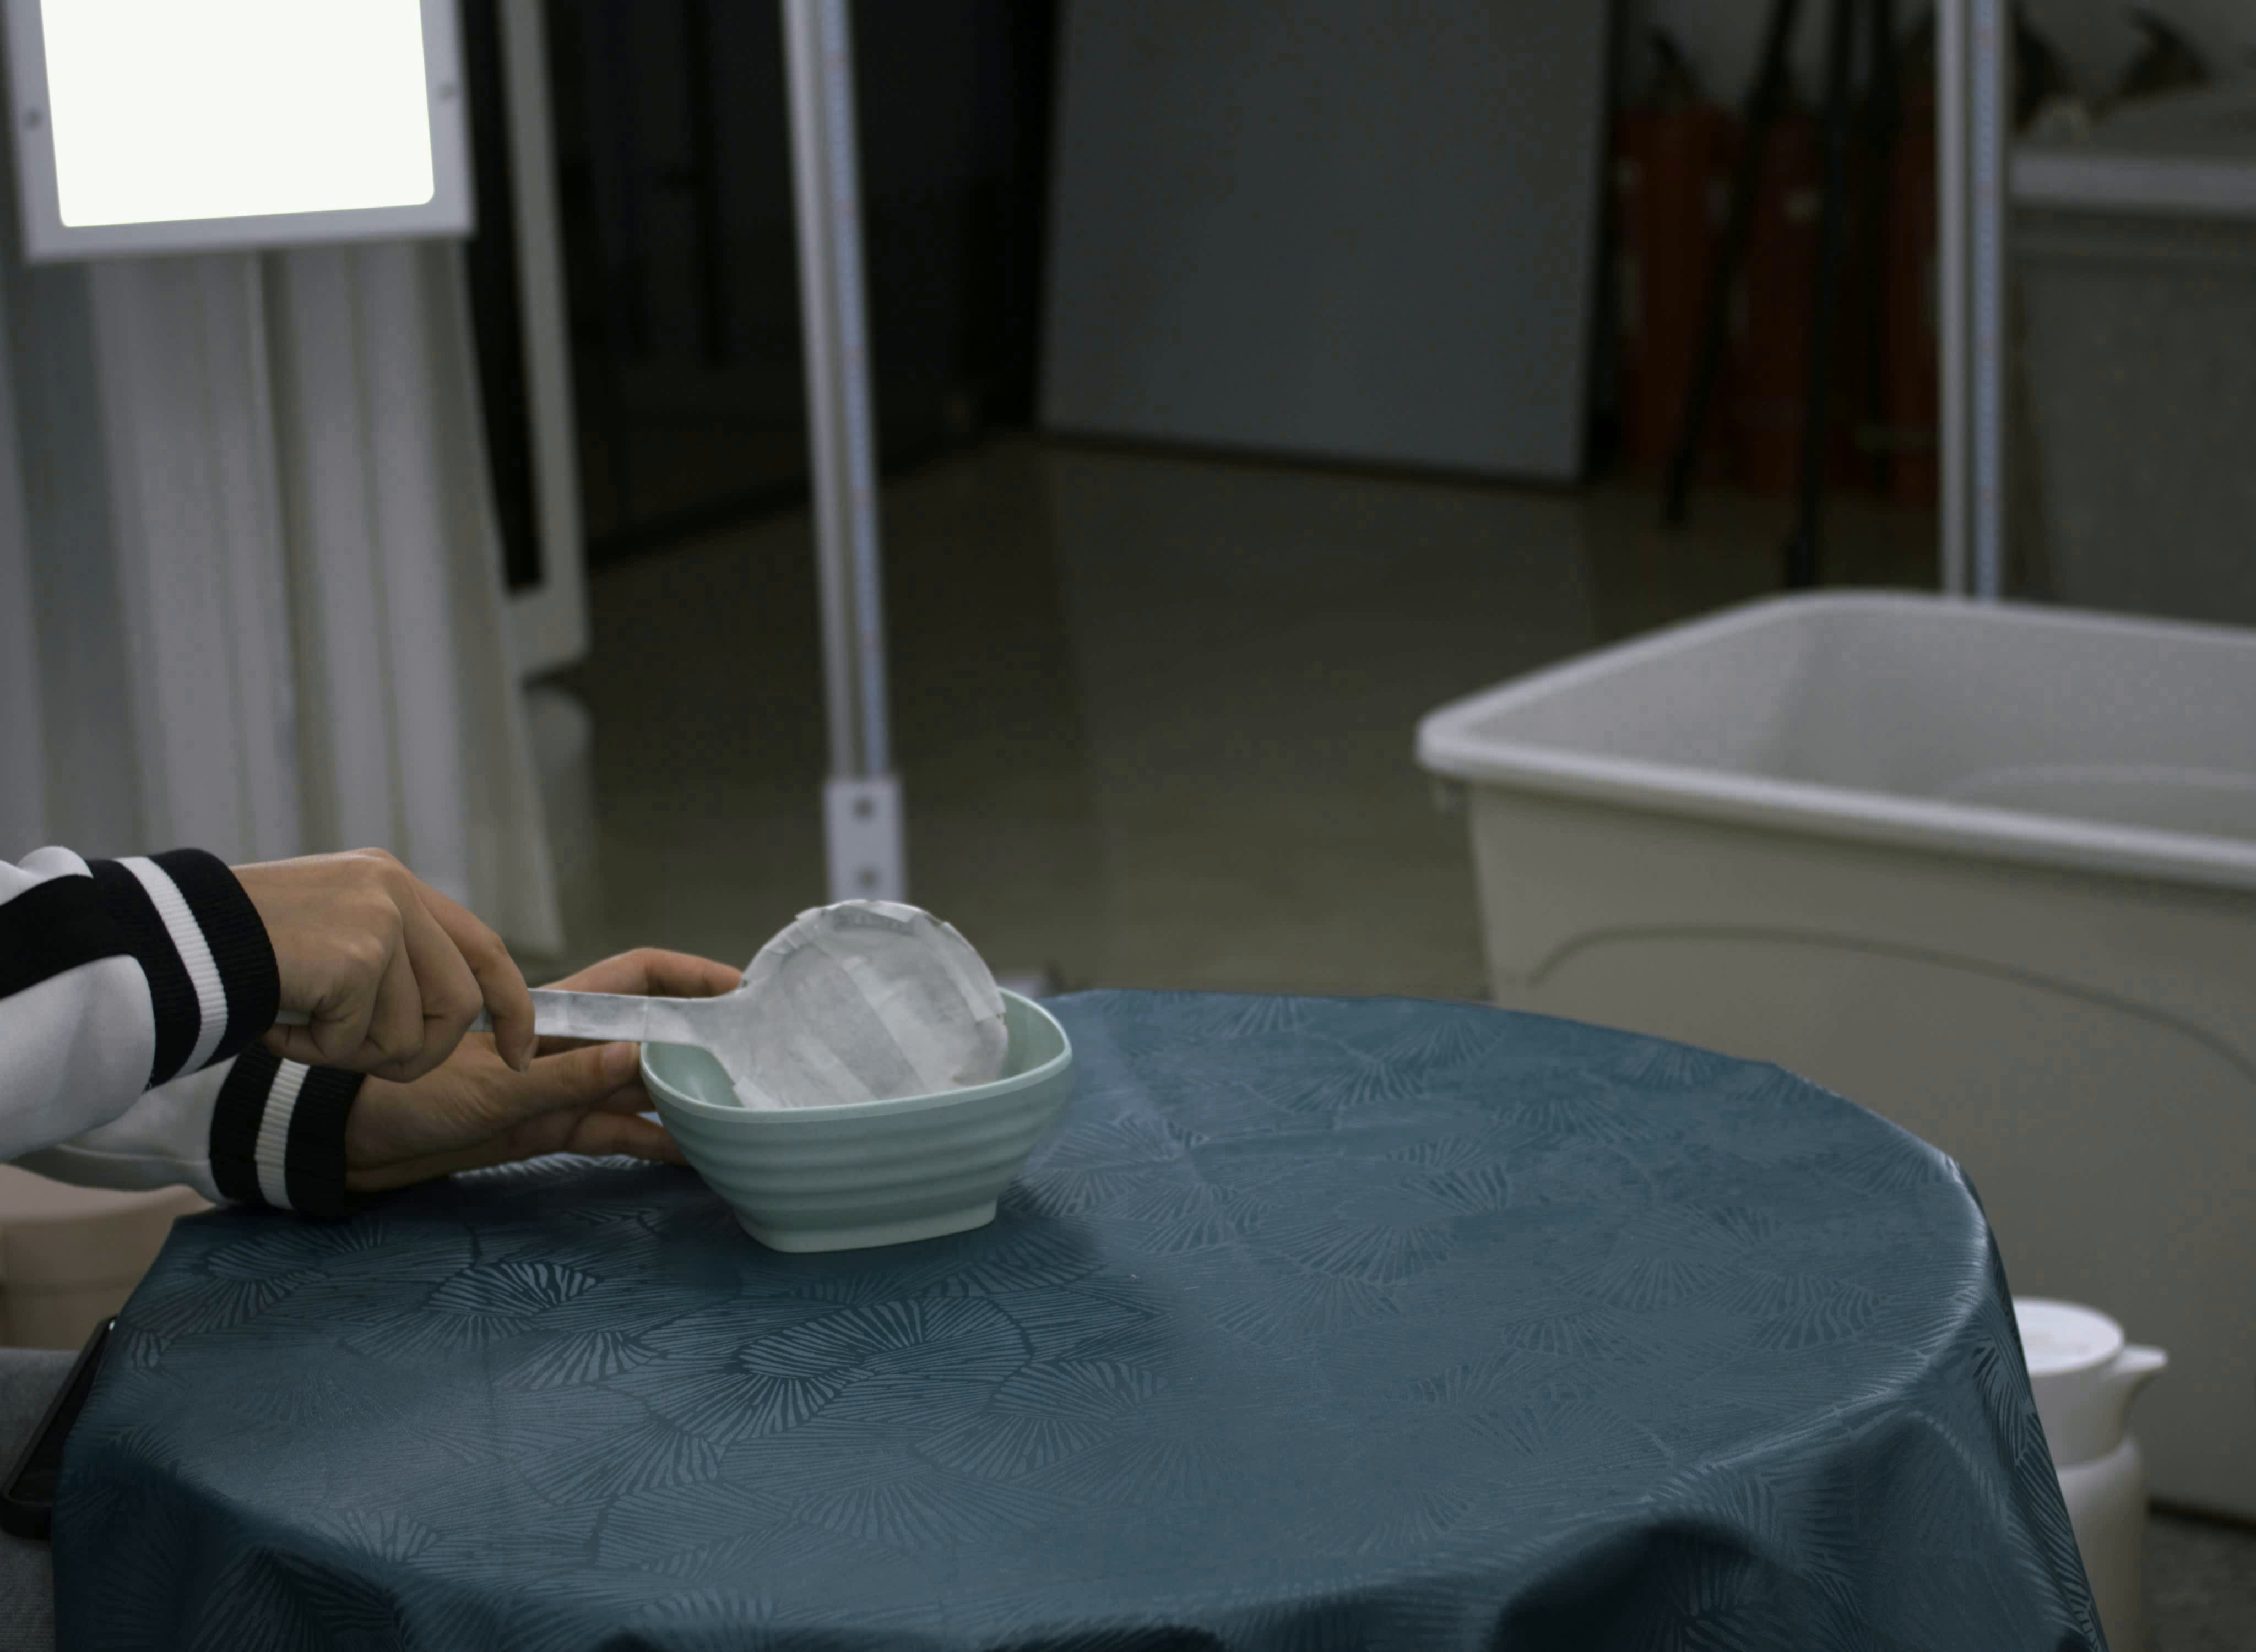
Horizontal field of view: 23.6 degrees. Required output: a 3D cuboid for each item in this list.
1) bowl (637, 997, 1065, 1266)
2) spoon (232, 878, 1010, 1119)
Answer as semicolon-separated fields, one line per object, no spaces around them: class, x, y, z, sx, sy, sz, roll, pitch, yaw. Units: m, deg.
bowl;-0.089;0.102;1.766;0.149;0.059;0.152;-4;14;0
spoon;-0.154;0.054;1.709;0.271;0.102;0.060;12;-7;-43
